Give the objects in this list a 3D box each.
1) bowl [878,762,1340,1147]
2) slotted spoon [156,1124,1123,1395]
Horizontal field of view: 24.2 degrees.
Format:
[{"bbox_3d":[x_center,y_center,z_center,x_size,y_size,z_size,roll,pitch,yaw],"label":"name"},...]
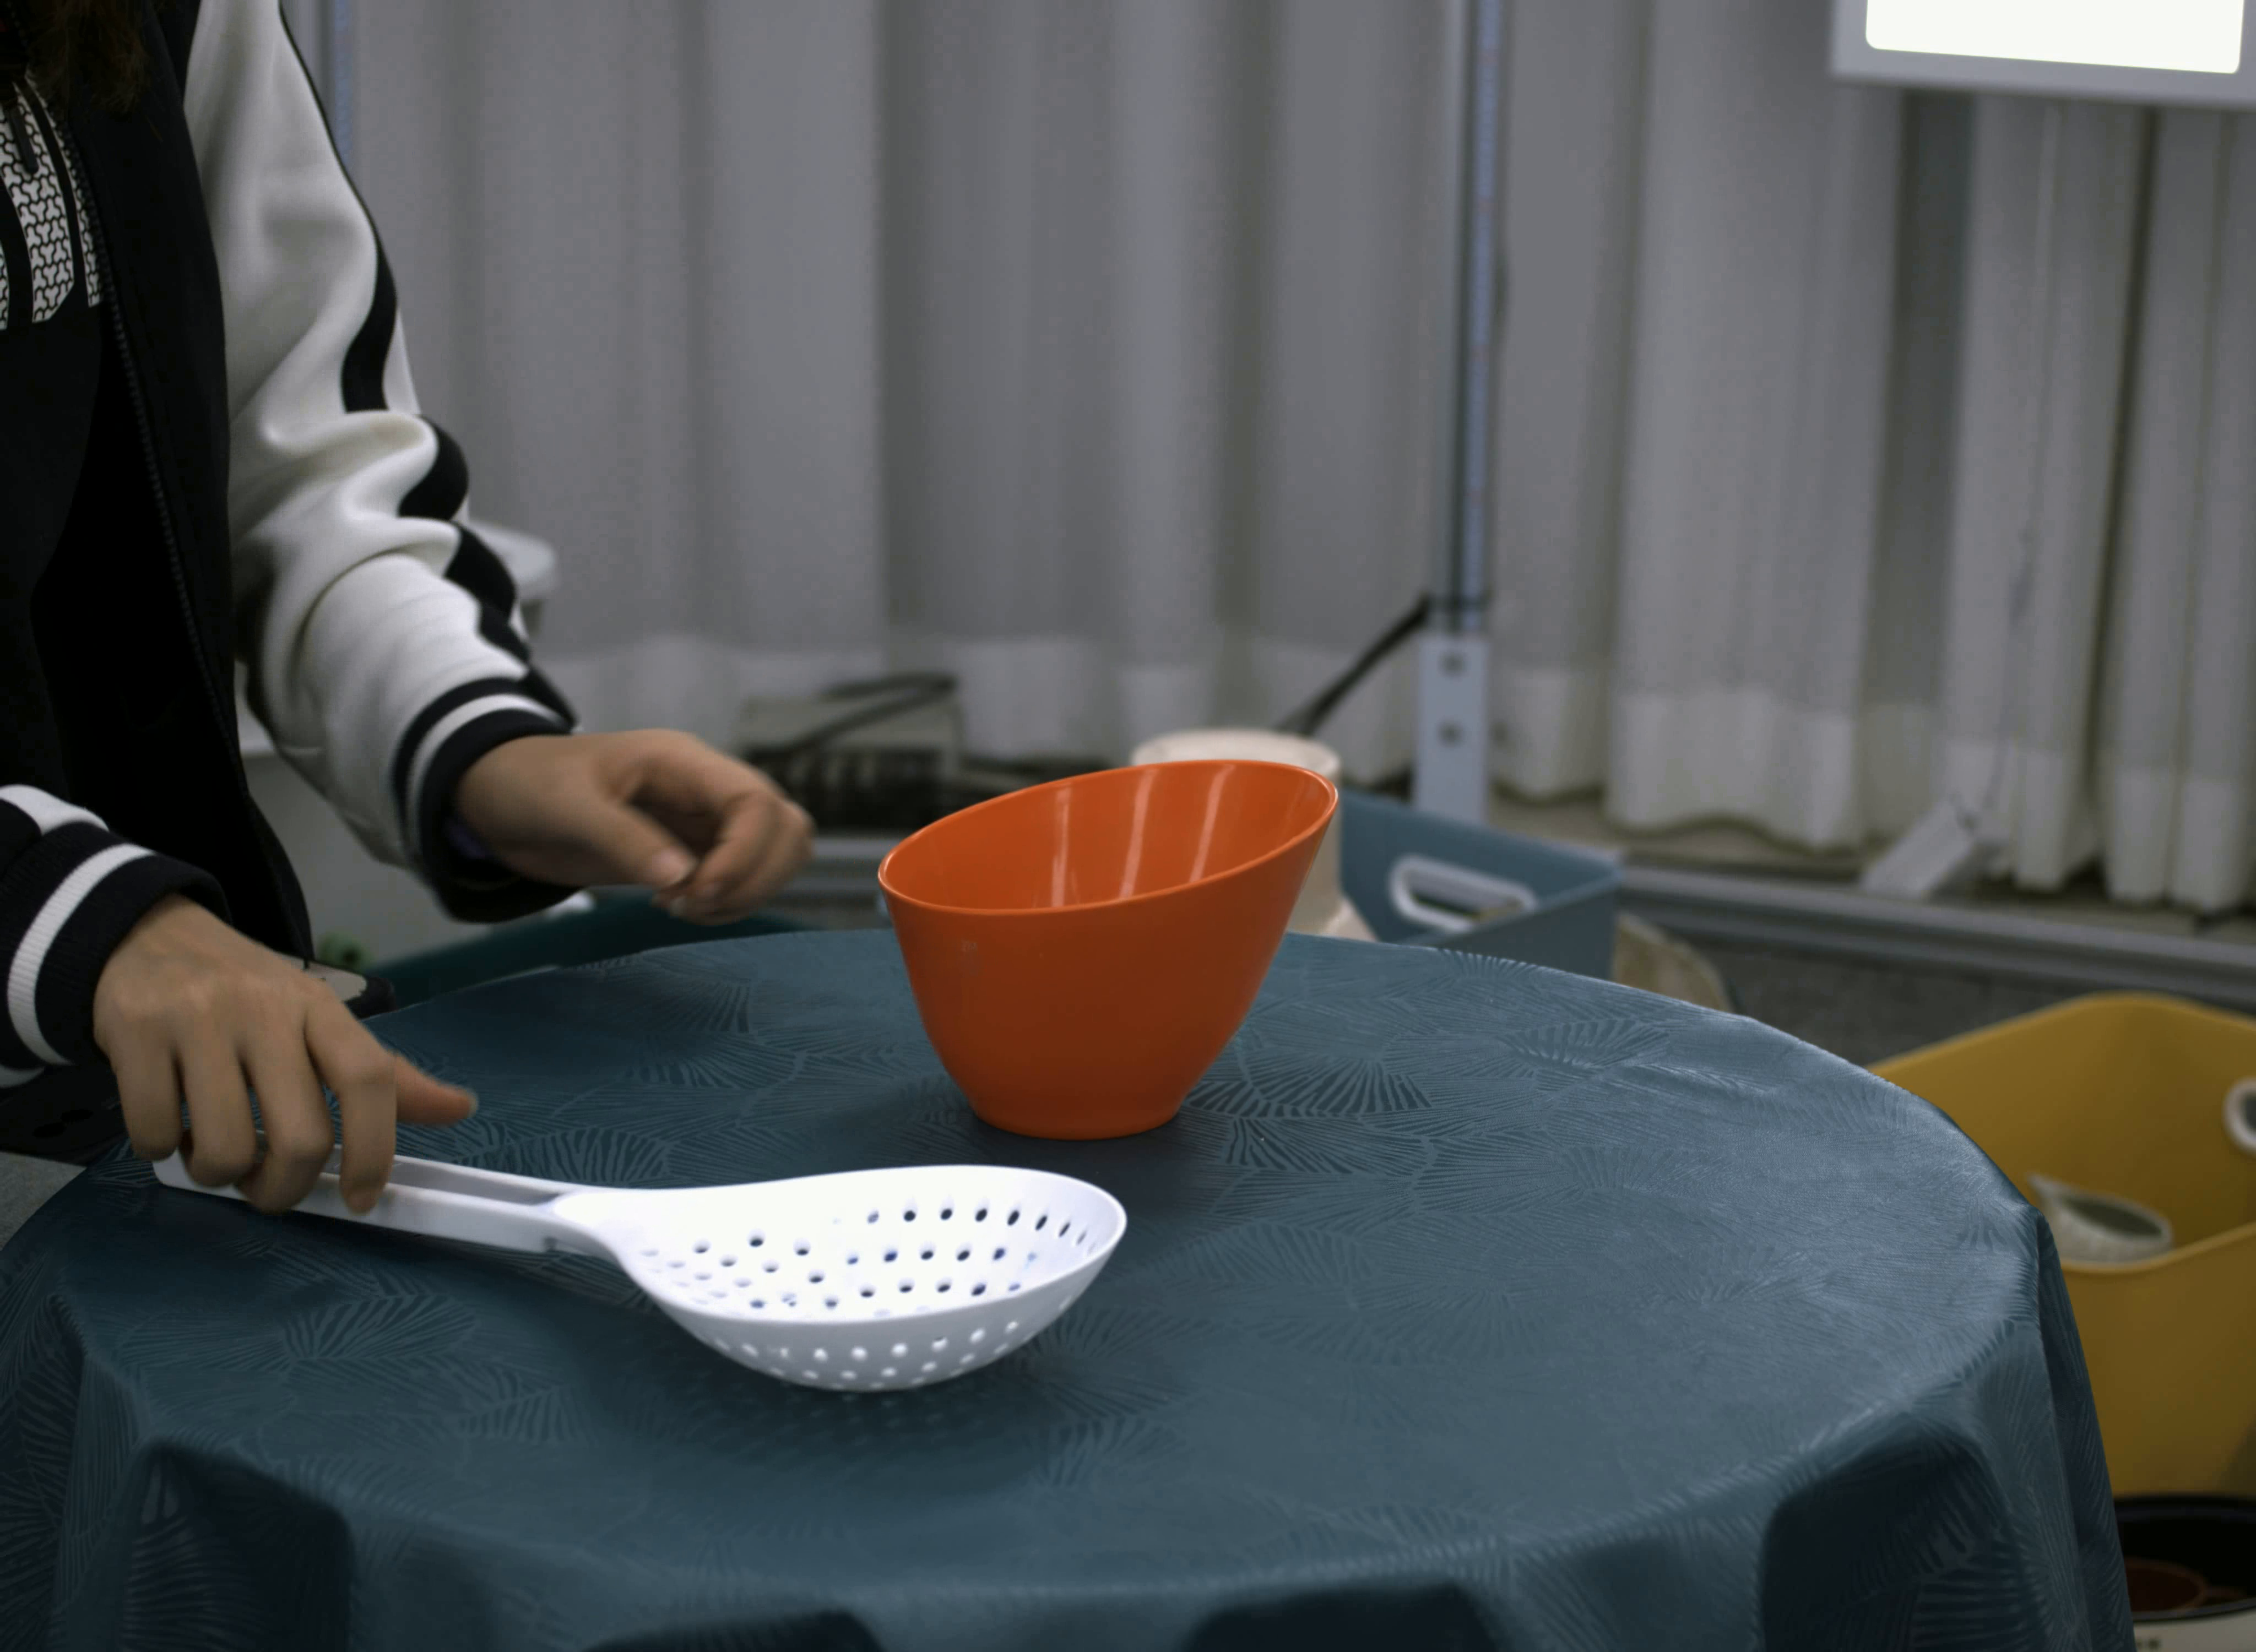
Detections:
[{"bbox_3d":[-0.006,0.043,1.684,0.147,0.105,0.147,0,17,1],"label":"bowl"},{"bbox_3d":[-0.154,0.115,1.523,0.345,0.046,0.136,11,20,35],"label":"slotted spoon"}]
